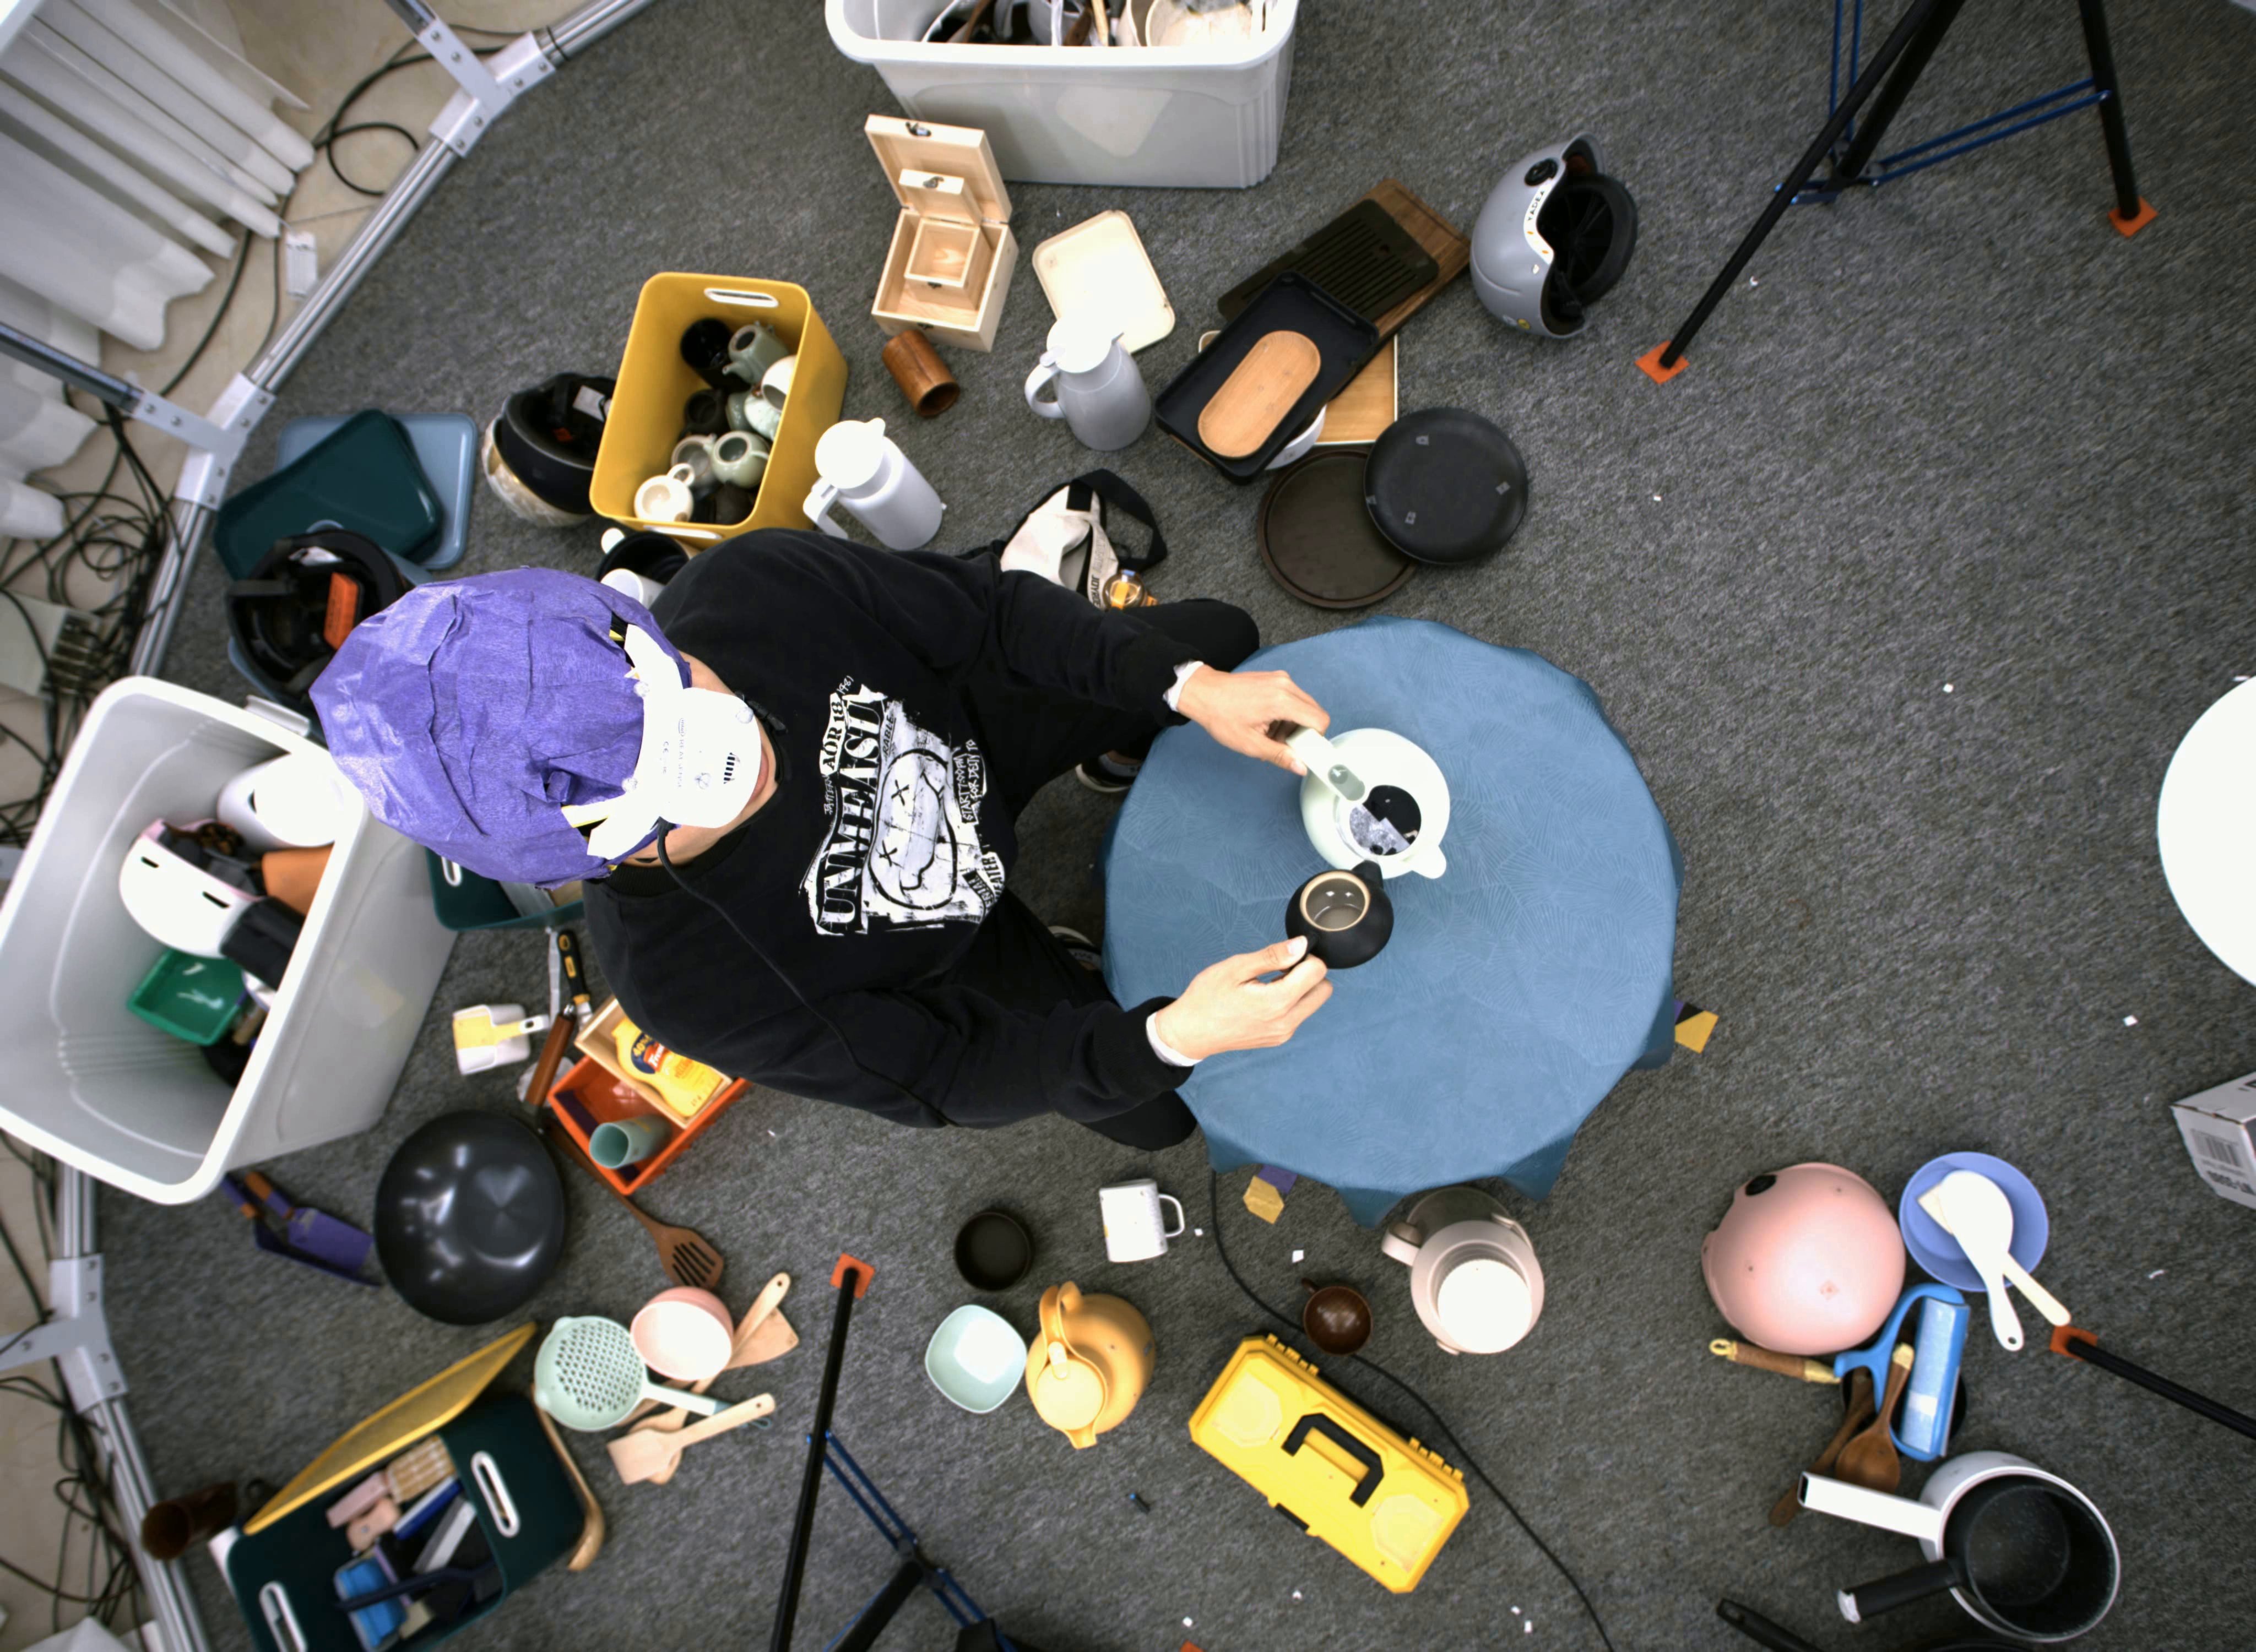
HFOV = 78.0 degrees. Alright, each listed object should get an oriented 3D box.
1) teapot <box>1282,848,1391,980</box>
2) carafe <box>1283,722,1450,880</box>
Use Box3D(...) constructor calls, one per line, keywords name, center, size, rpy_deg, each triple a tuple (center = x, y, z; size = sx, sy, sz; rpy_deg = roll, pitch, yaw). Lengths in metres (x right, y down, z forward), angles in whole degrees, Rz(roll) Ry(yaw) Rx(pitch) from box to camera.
Box3D(name="teapot", center=(0.174, 0.078, 1.158), size=(0.090, 0.054, 0.131), rpy_deg=(29, 68, 30))
Box3D(name="carafe", center=(0.229, -0.029, 1.334), size=(0.186, 0.254, 0.146), rpy_deg=(44, 101, 3))
